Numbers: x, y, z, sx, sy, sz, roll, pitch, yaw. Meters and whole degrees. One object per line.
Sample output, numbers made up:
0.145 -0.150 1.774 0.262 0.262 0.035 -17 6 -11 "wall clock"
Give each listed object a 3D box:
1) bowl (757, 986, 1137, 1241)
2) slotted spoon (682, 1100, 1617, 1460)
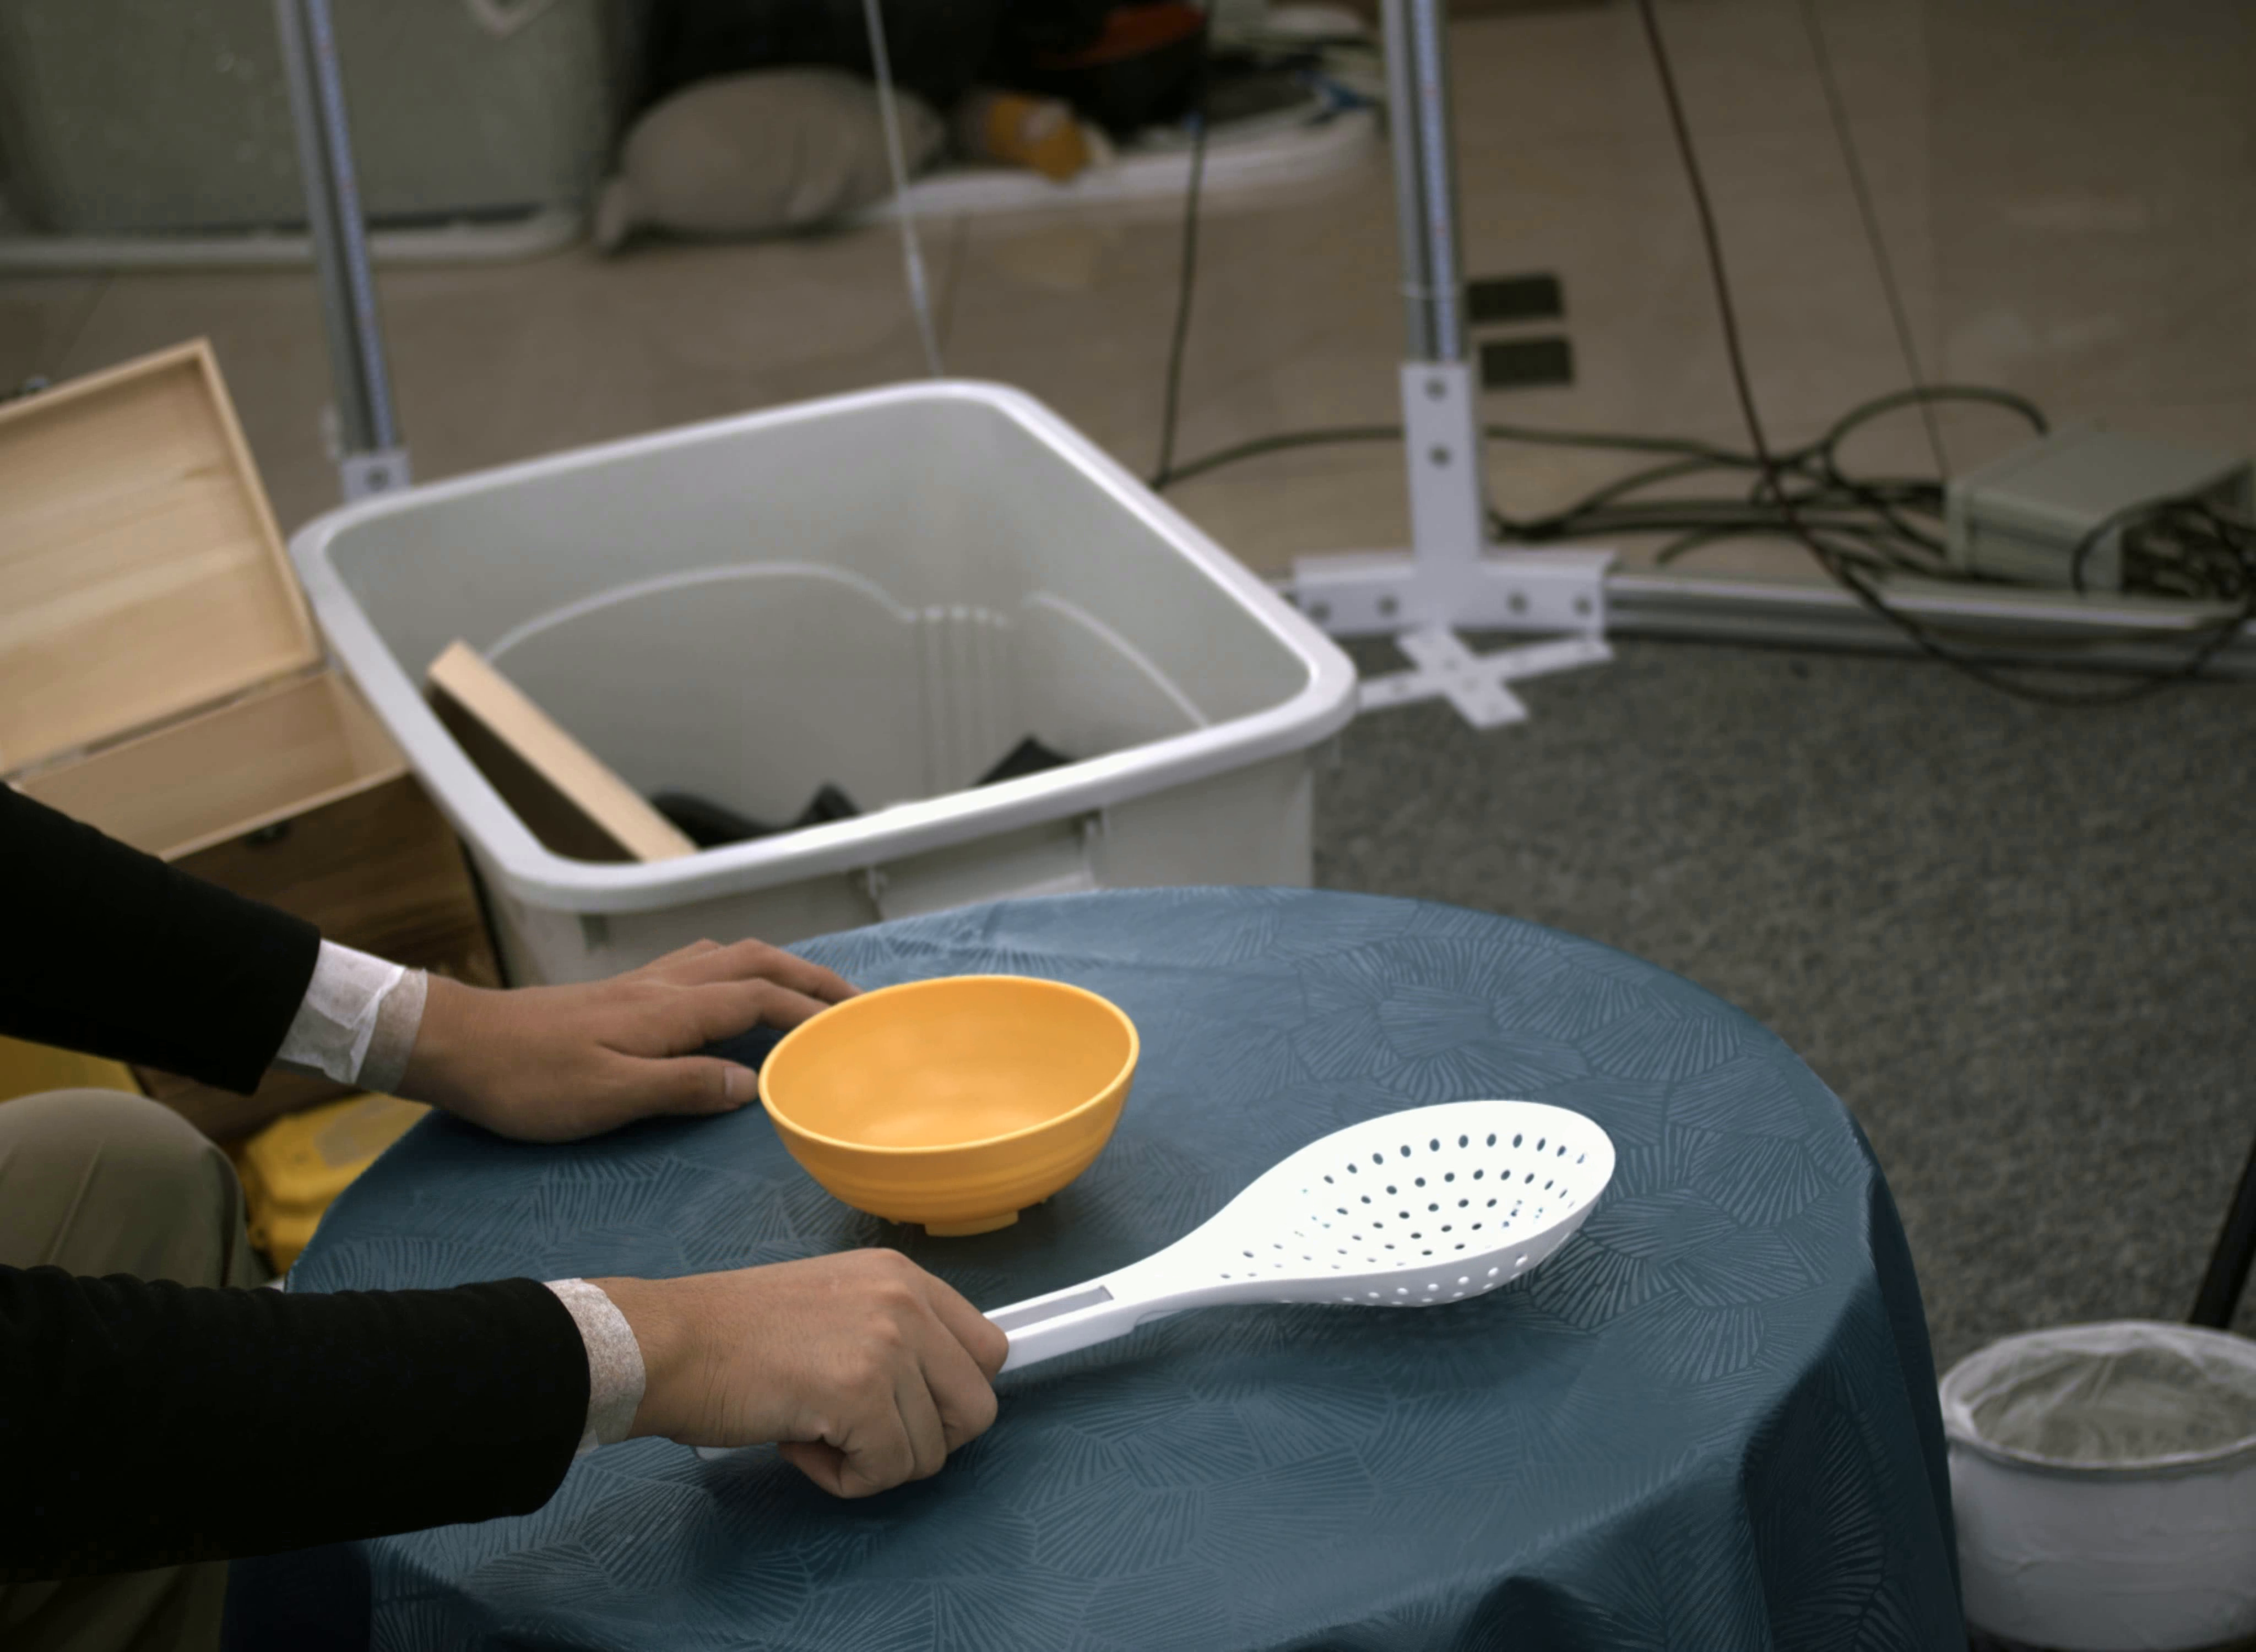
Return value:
-0.066 0.116 2.146 0.145 0.061 0.143 -4 23 2 "bowl"
0.010 0.165 2.025 0.349 0.046 0.134 -12 20 -14 "slotted spoon"
